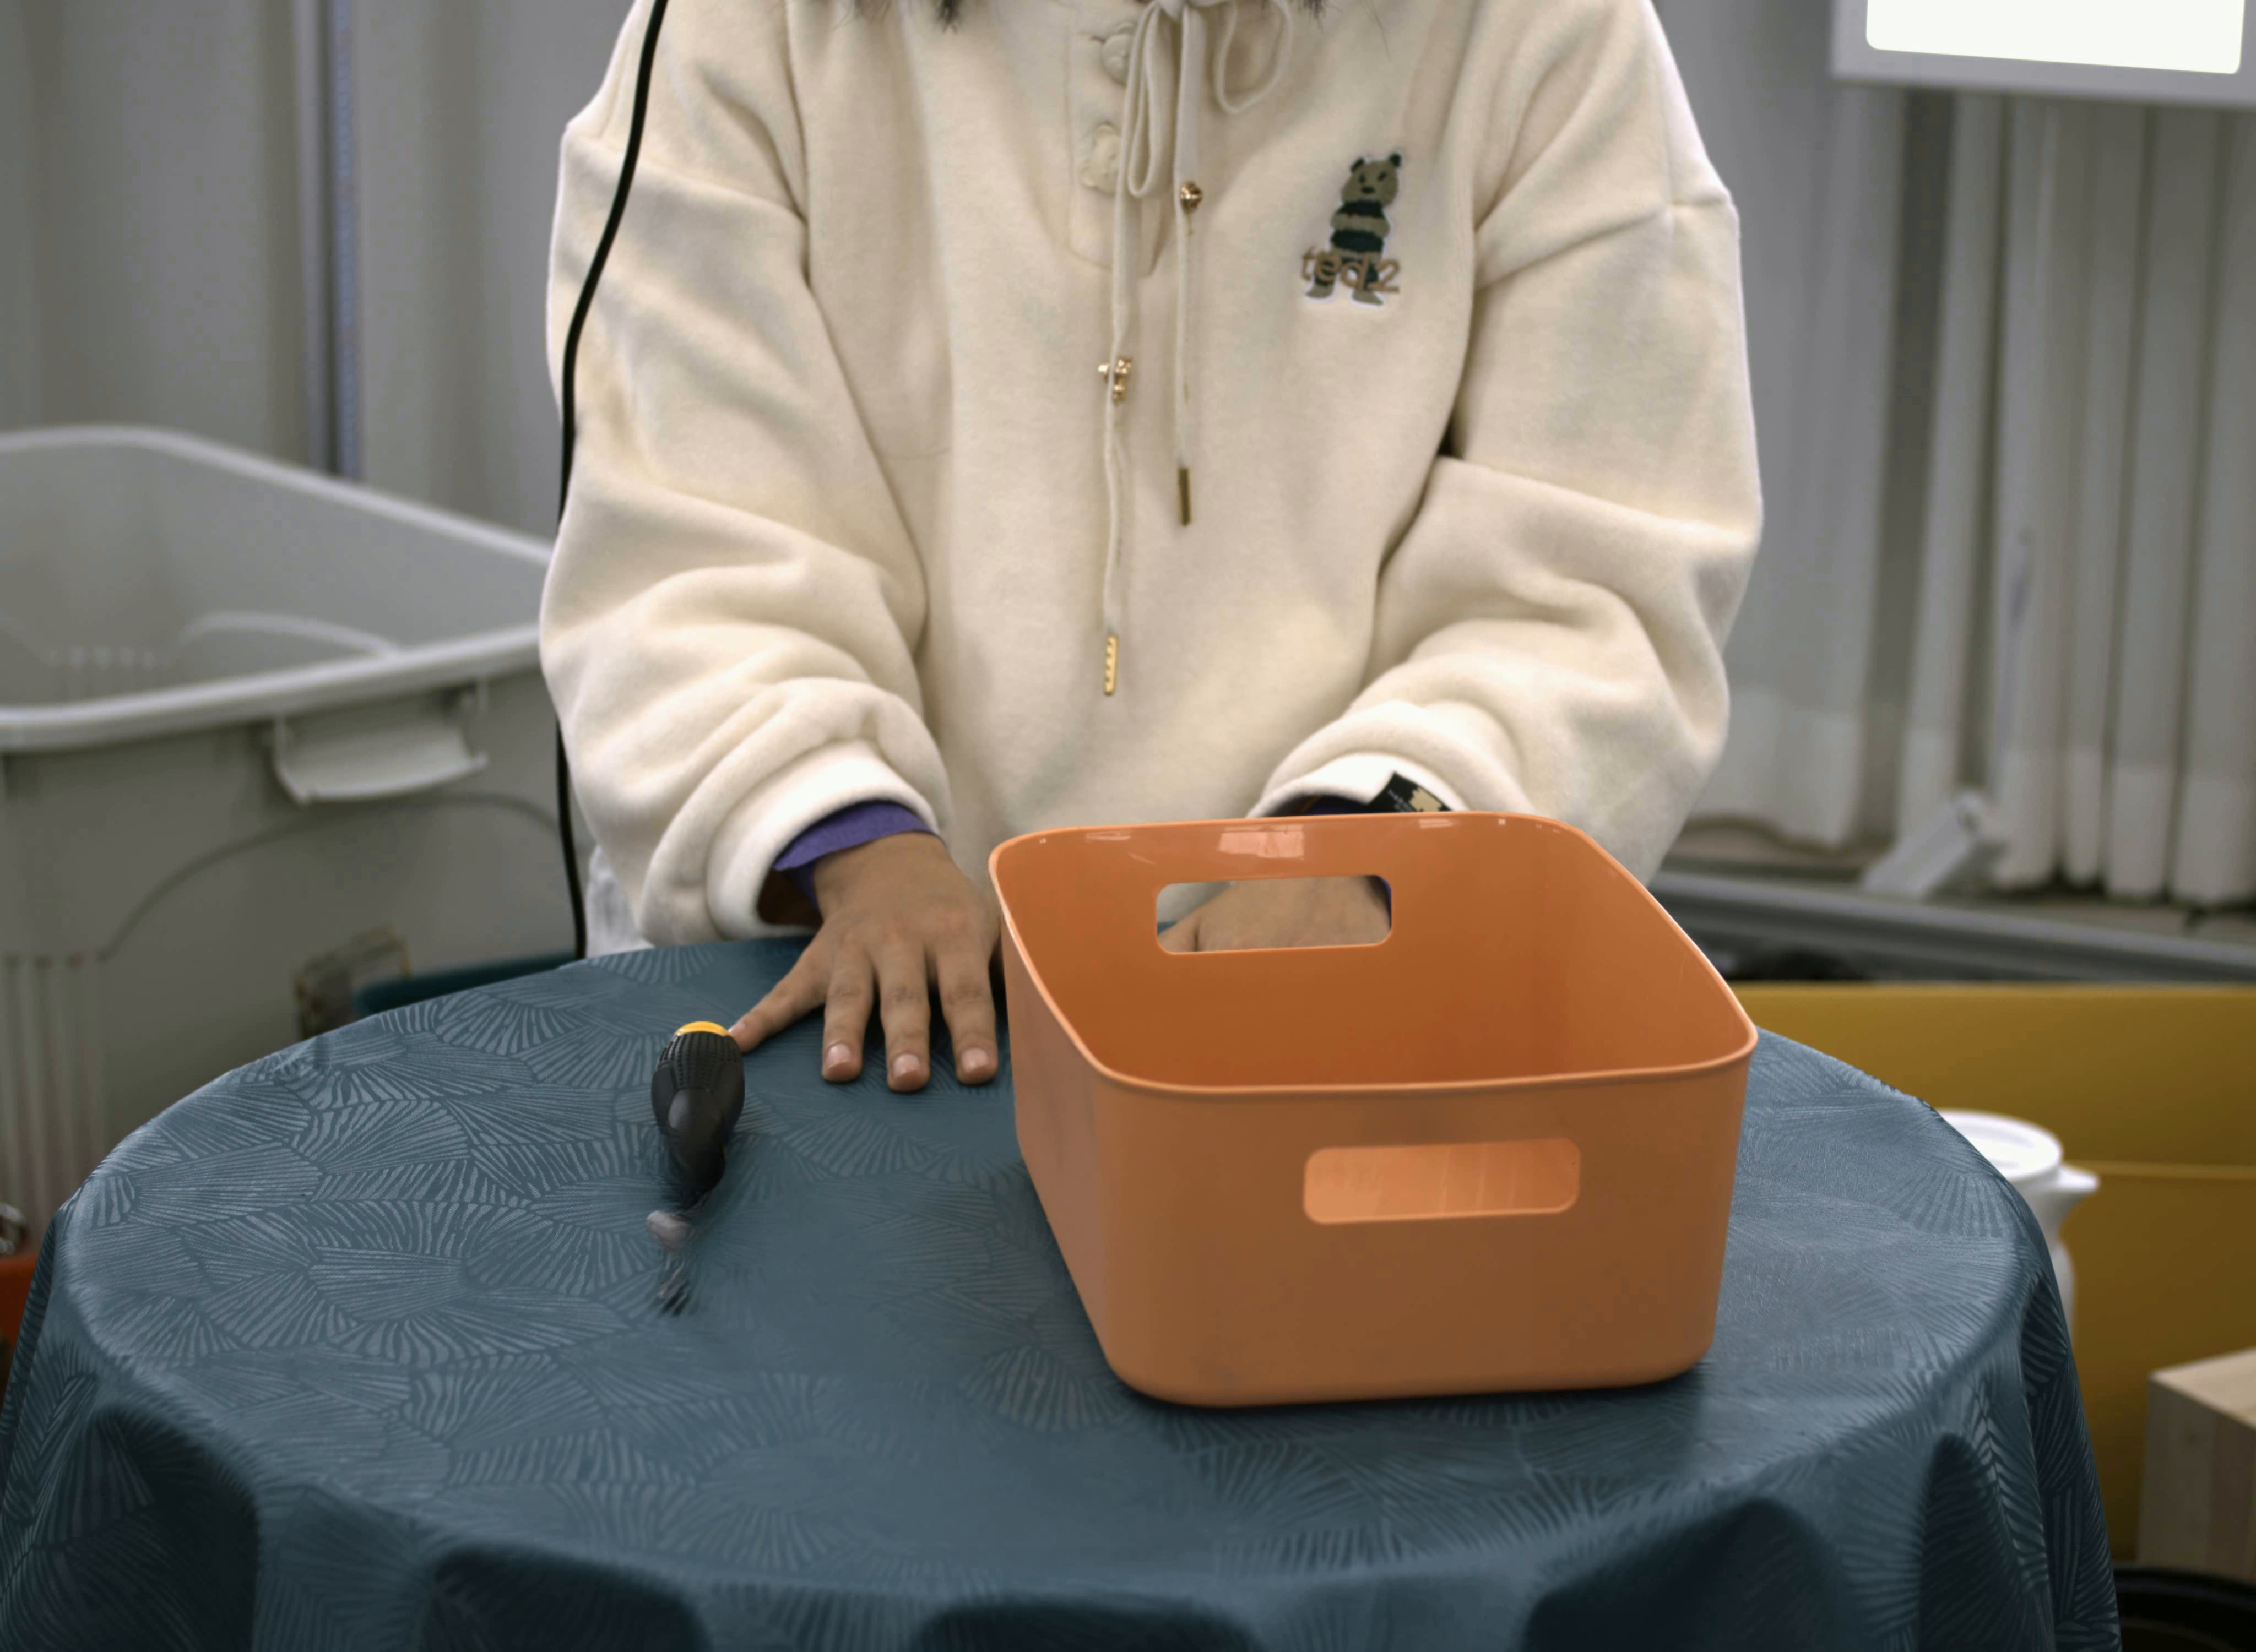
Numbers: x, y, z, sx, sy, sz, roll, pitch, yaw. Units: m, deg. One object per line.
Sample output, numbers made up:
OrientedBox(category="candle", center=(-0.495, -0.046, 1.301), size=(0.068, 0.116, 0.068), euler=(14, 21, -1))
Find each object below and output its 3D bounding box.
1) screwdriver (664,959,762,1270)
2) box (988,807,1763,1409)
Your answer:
OrientedBox(category="screwdriver", center=(-0.126, 0.090, 1.611), size=(0.031, 0.032, 0.196), euler=(-1, 24, -5))
OrientedBox(category="box", center=(0.067, 0.079, 1.547), size=(0.199, 0.103, 0.271), euler=(-3, 16, -9))
